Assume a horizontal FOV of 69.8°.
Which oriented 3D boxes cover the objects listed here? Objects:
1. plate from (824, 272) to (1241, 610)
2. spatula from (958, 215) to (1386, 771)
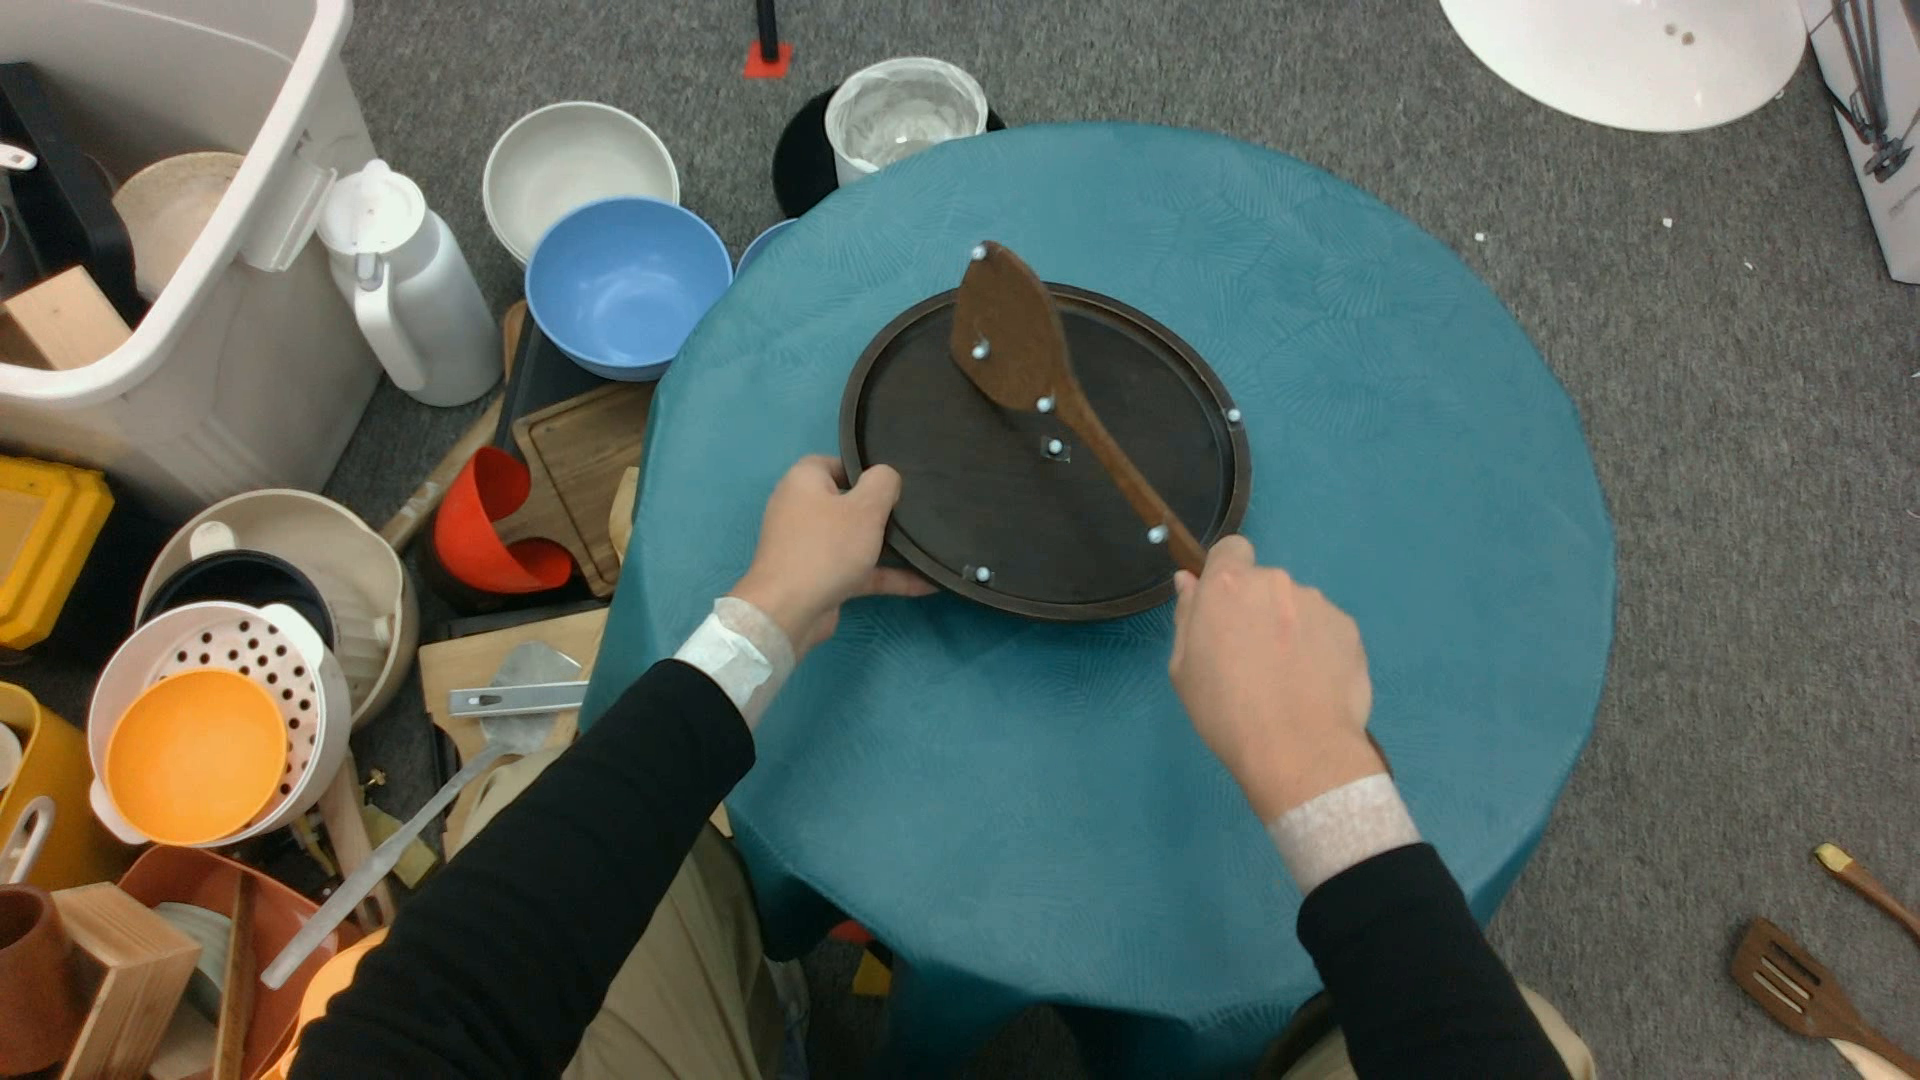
[{"bbox_3d":[0.044,-0.066,0.830,0.255,0.029,0.256,5,55,-8],"label":"plate"},{"bbox_3d":[0.101,-0.032,0.739,0.016,0.095,0.387,-14,55,-30],"label":"spatula"}]
